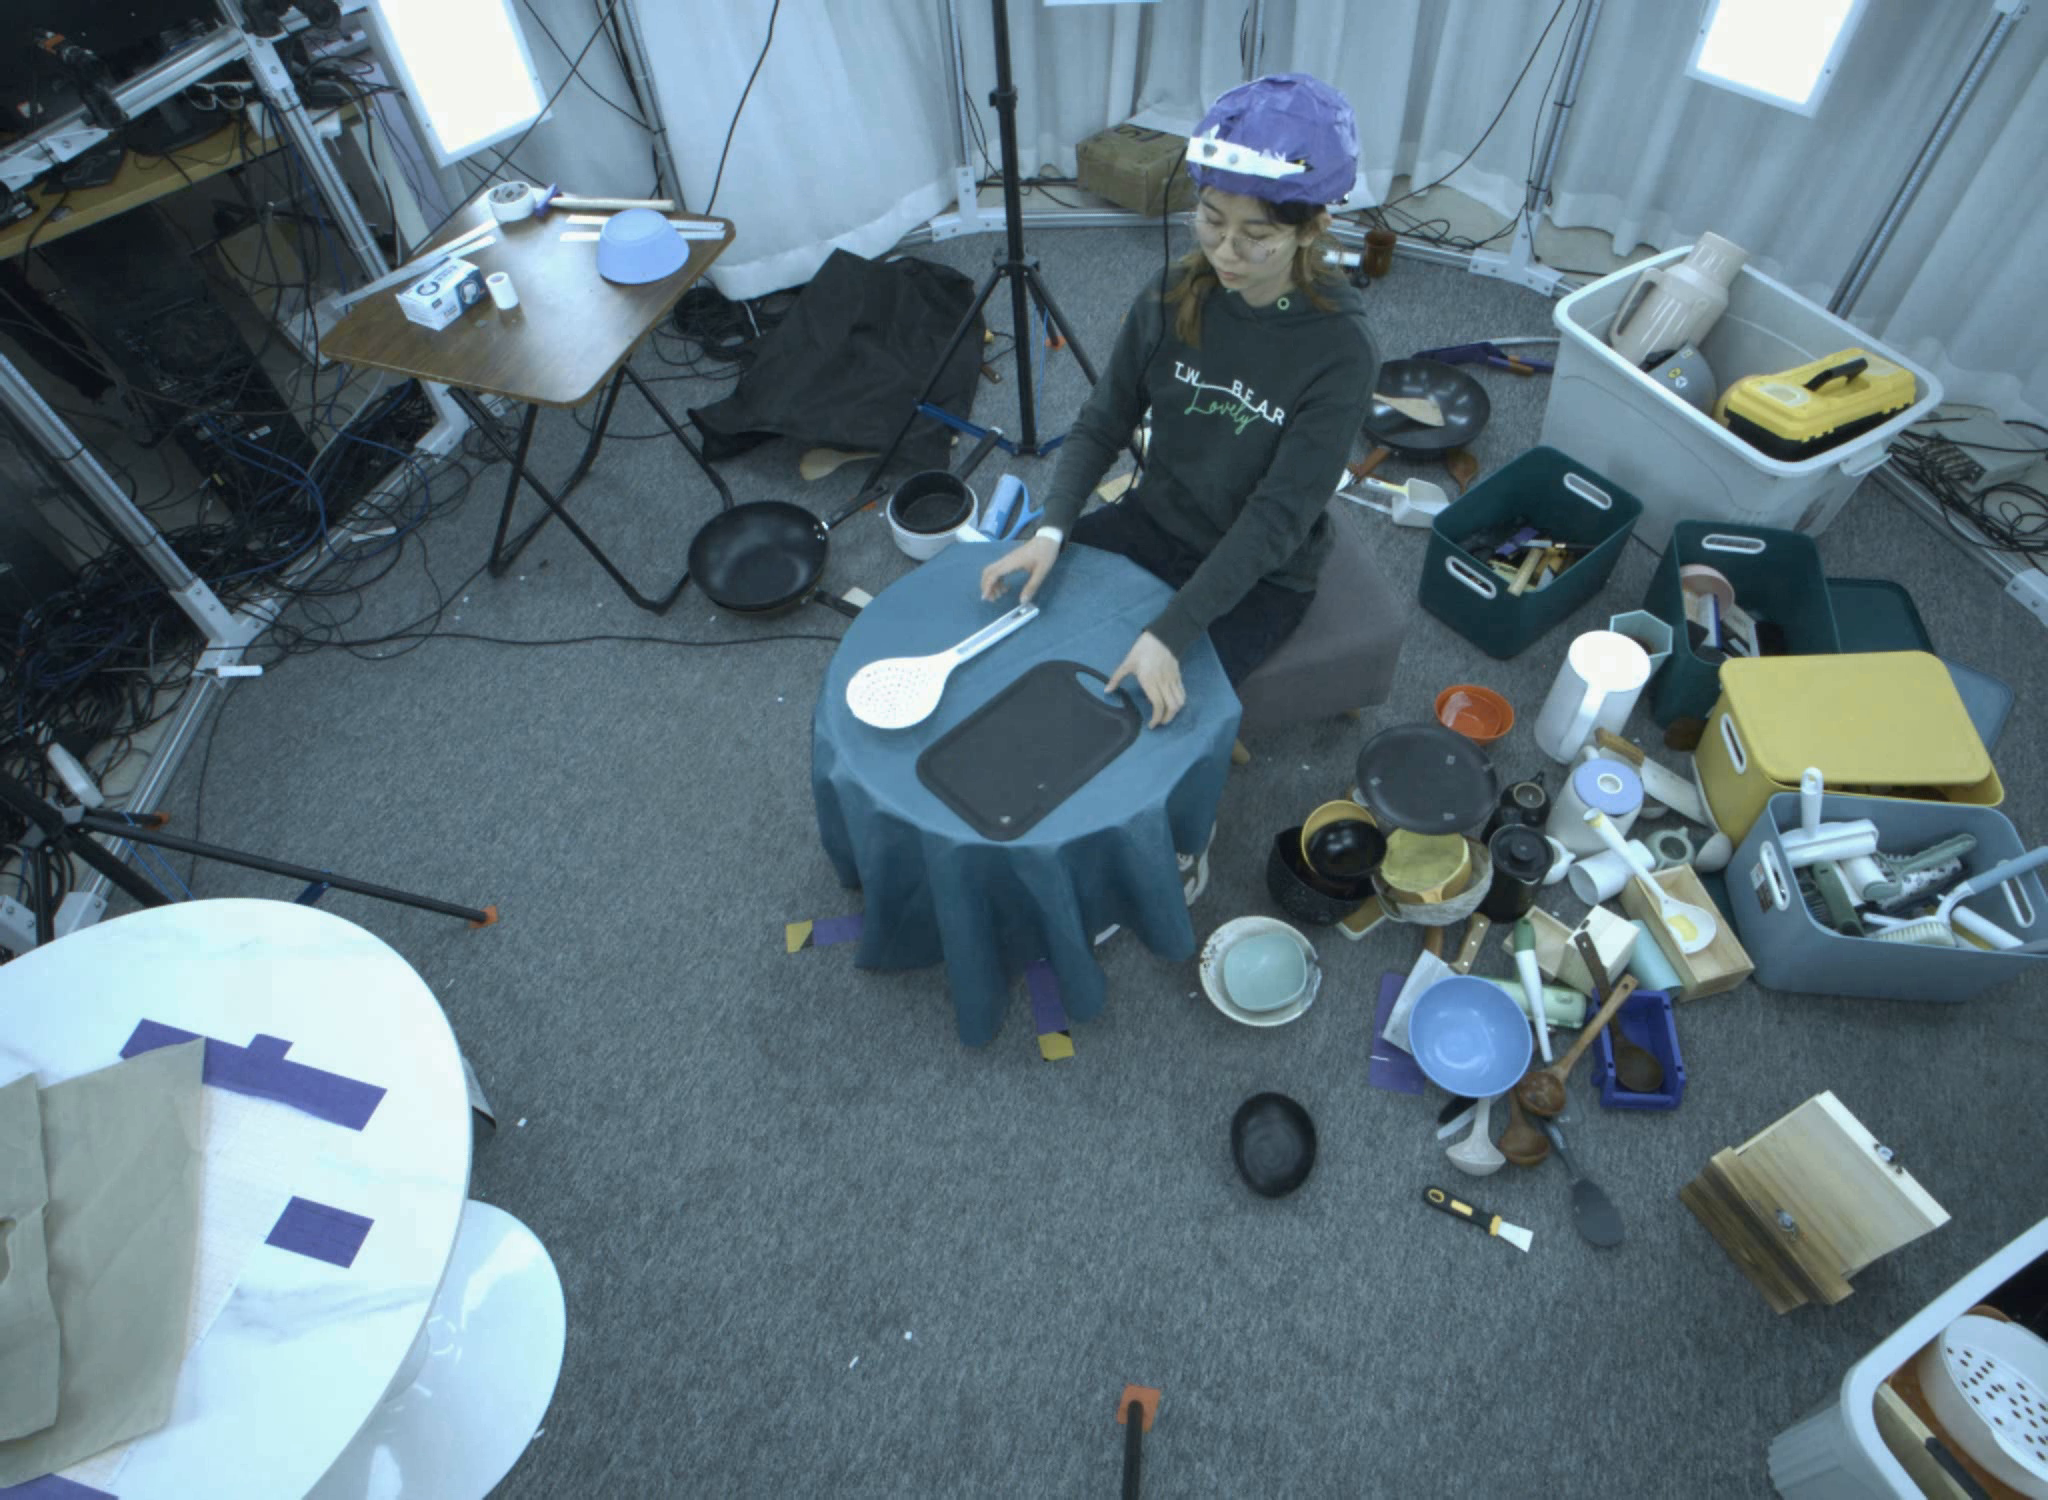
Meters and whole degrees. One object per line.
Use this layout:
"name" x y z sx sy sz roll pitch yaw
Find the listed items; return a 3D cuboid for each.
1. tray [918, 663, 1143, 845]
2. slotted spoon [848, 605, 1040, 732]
"tray" 0.016 -0.007 1.798 0.328 0.010 0.207 -39 63 -23
"slotted spoon" -0.112 -0.132 1.866 0.352 0.046 0.134 -37 64 -23
